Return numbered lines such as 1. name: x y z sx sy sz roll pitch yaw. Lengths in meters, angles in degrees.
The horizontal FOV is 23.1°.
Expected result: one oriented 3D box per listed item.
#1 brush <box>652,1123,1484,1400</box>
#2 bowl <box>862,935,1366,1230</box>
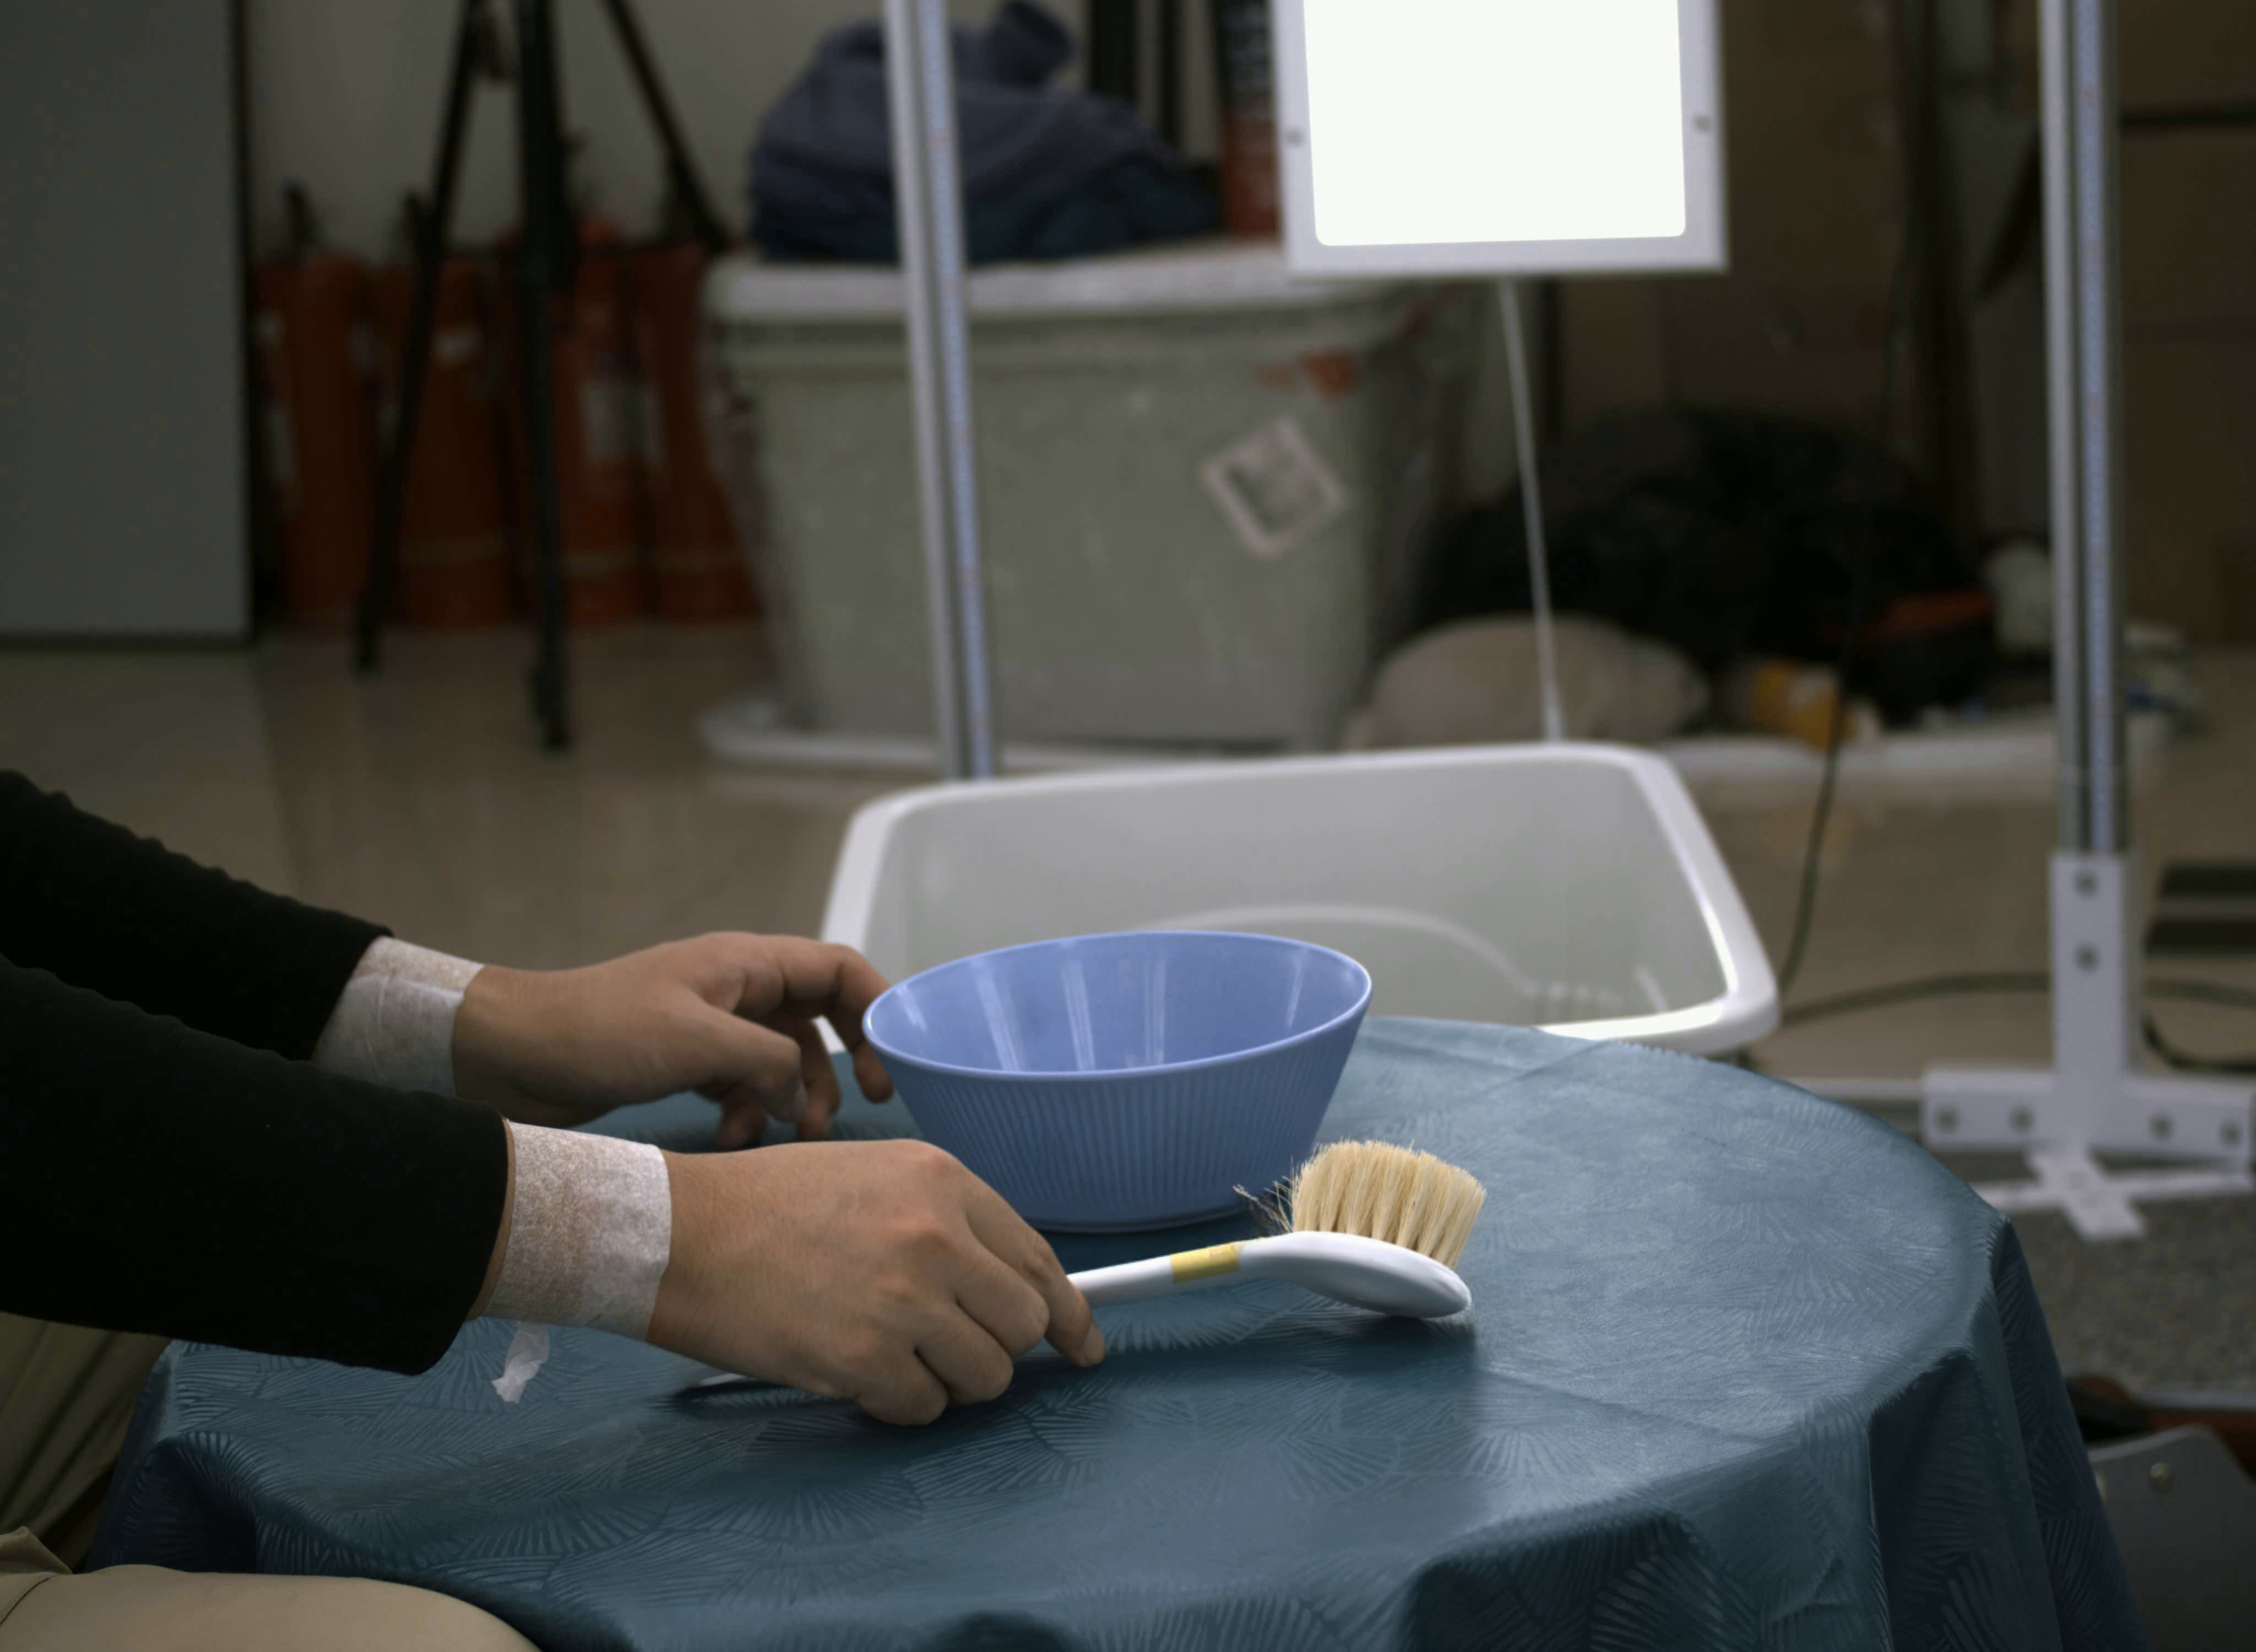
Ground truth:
1. brush: -0.019 0.137 1.728 0.266 0.056 0.068 -7 -24 3
2. bowl: -0.002 0.090 1.895 0.175 0.070 0.176 -6 13 0
